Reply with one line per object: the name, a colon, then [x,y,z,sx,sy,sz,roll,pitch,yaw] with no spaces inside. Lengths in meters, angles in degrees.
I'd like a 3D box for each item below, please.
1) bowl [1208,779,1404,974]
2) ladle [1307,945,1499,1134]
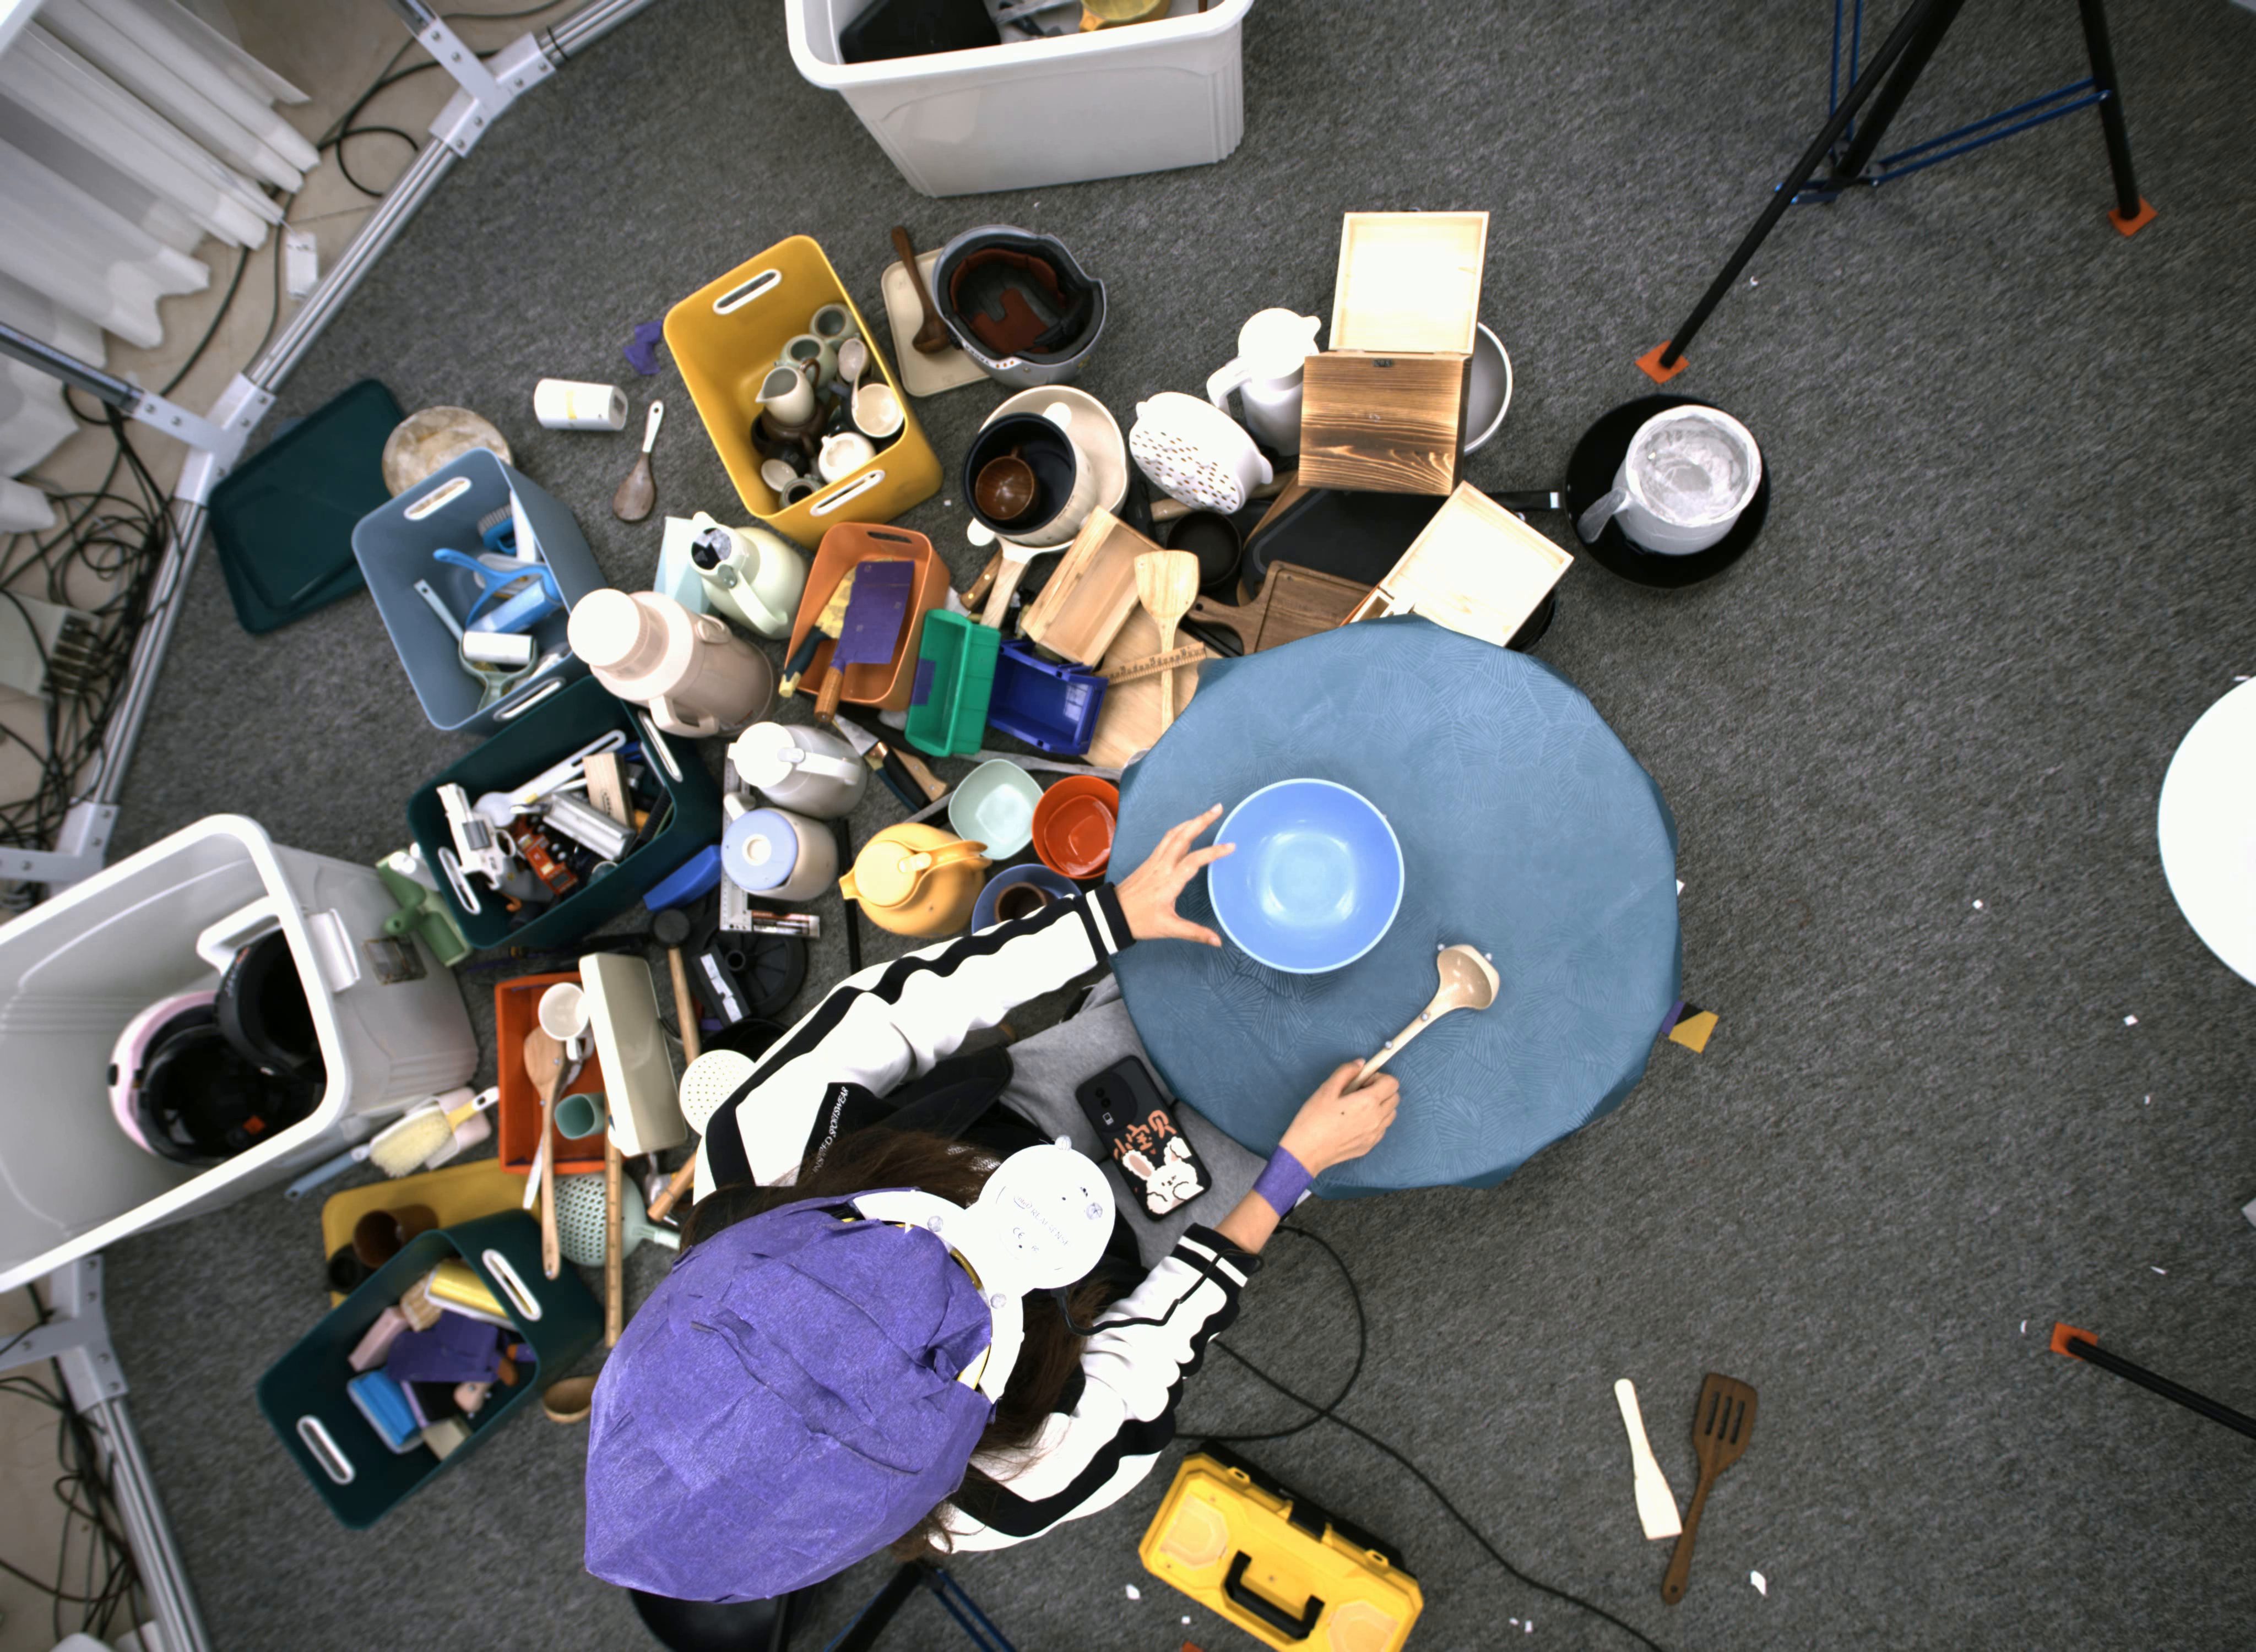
bowl: [0.185,0.053,1.432,0.197,0.095,0.196,-1,88,10]
ladle: [0.273,0.222,1.409,0.255,0.073,0.071,-44,73,2]
